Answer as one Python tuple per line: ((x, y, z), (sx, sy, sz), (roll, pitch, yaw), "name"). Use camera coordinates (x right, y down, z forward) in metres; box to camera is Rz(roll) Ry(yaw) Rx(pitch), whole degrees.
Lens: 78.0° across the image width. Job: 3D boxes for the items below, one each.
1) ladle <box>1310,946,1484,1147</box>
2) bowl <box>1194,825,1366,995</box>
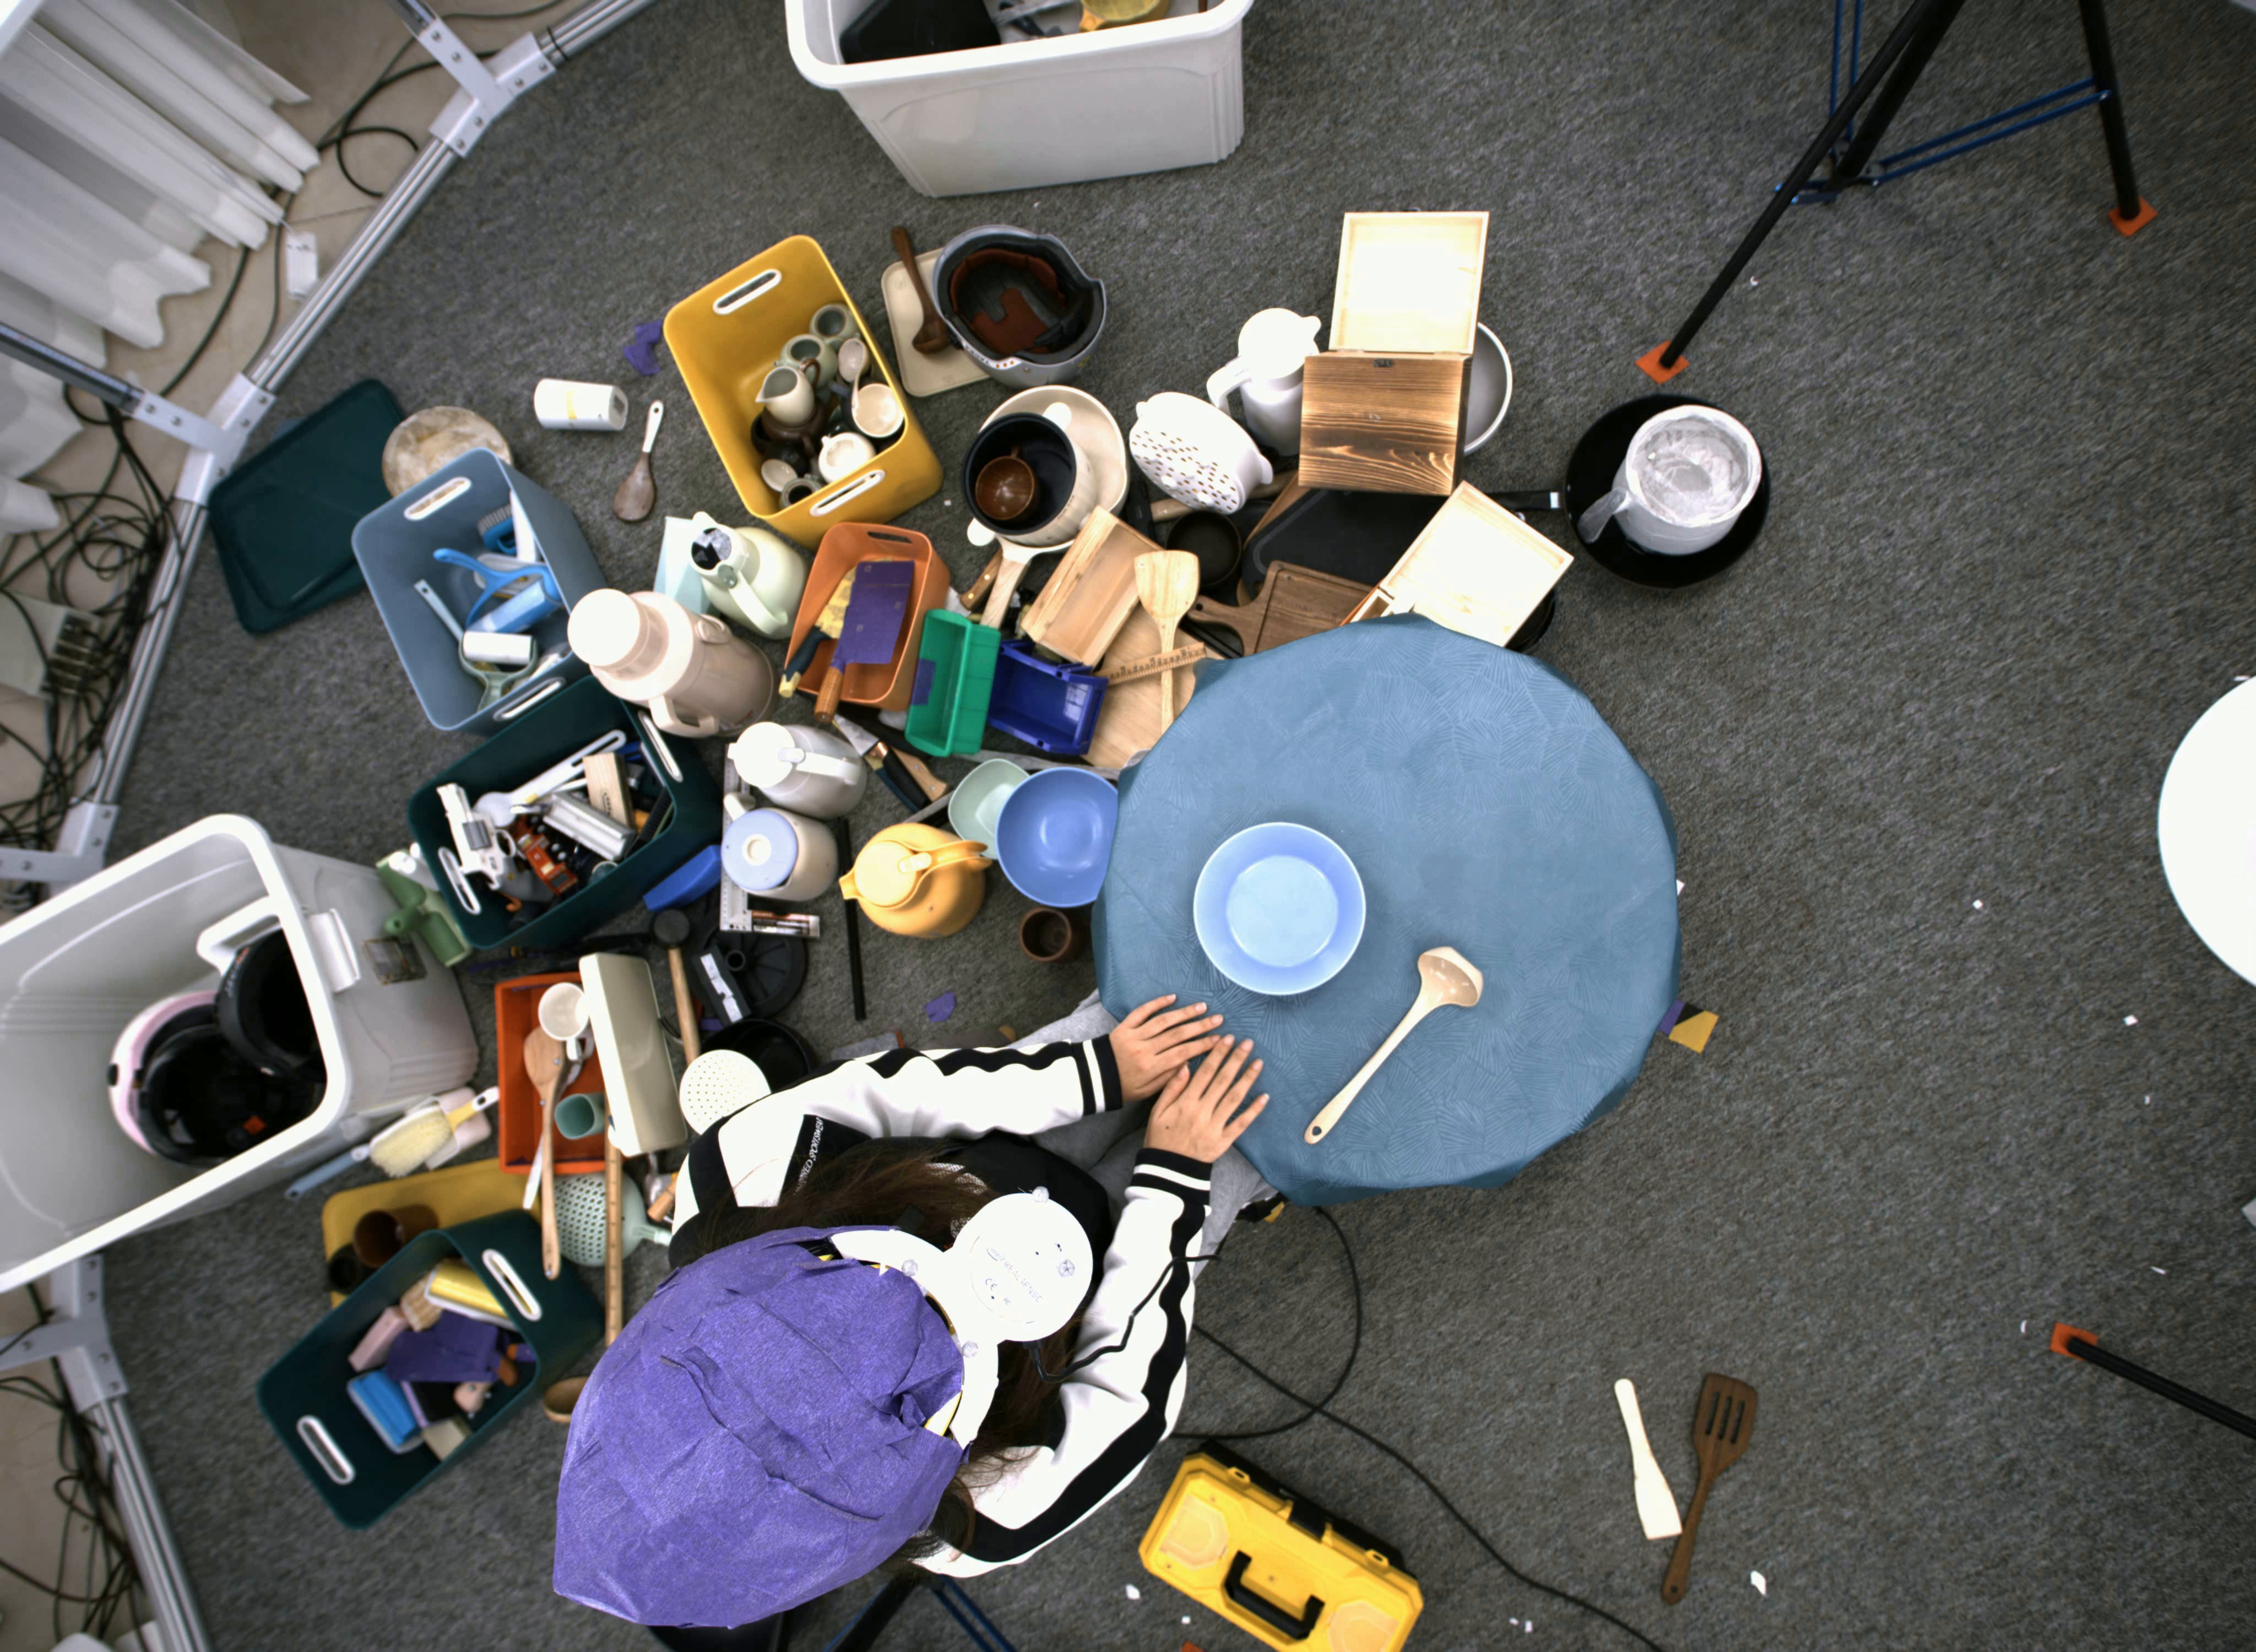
((0.267, 0.232, 1.415), (0.072, 0.073, 0.255), (38, 94, 8), "ladle")
((0.160, 0.088, 1.444), (0.177, 0.070, 0.175), (-1, 85, 11), "bowl")
